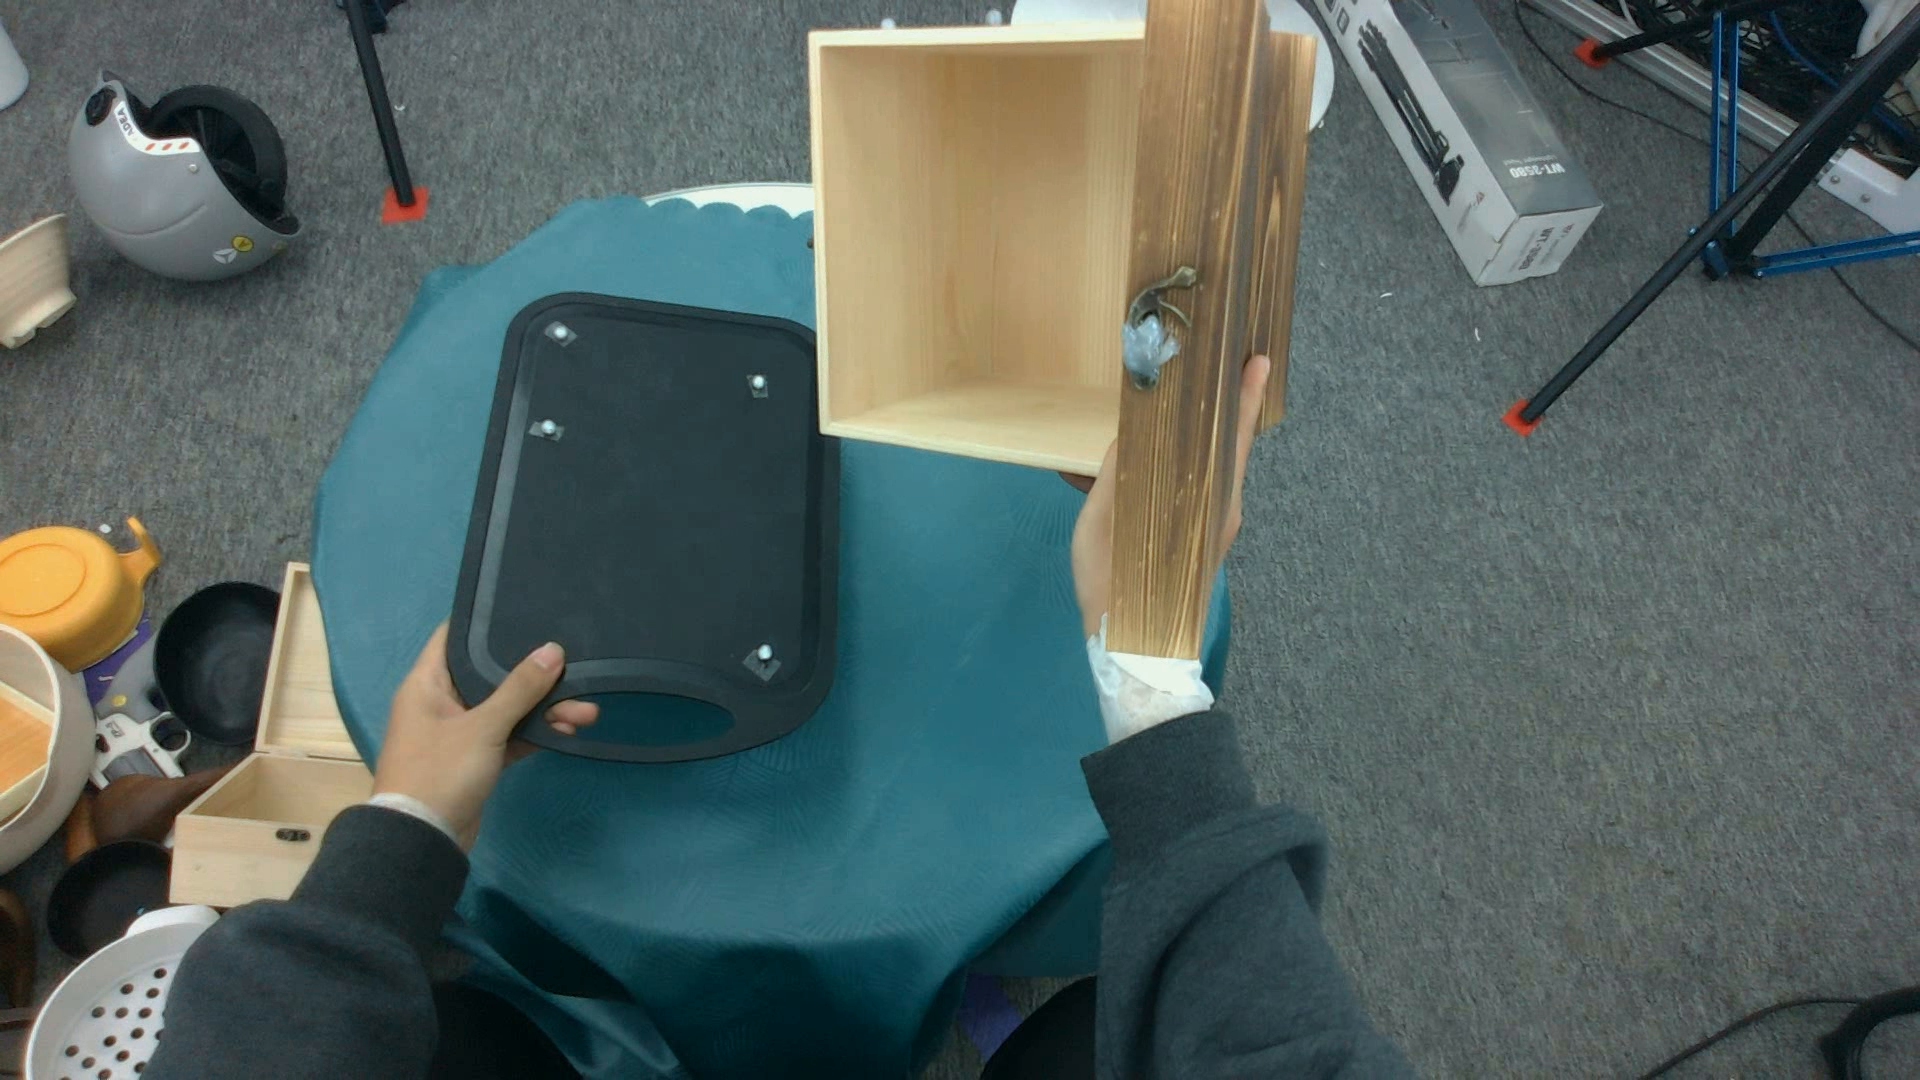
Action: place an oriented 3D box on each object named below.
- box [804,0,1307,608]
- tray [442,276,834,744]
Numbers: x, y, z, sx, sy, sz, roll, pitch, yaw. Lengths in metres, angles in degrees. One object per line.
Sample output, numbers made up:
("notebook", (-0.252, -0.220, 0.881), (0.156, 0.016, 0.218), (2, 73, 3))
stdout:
("box", (0.043, -0.135, 0.619), (0.321, 0.208, 0.377), (10, 20, 29))
("tray", (-0.179, -0.030, 0.815), (0.211, 0.010, 0.327), (5, 56, -12))
